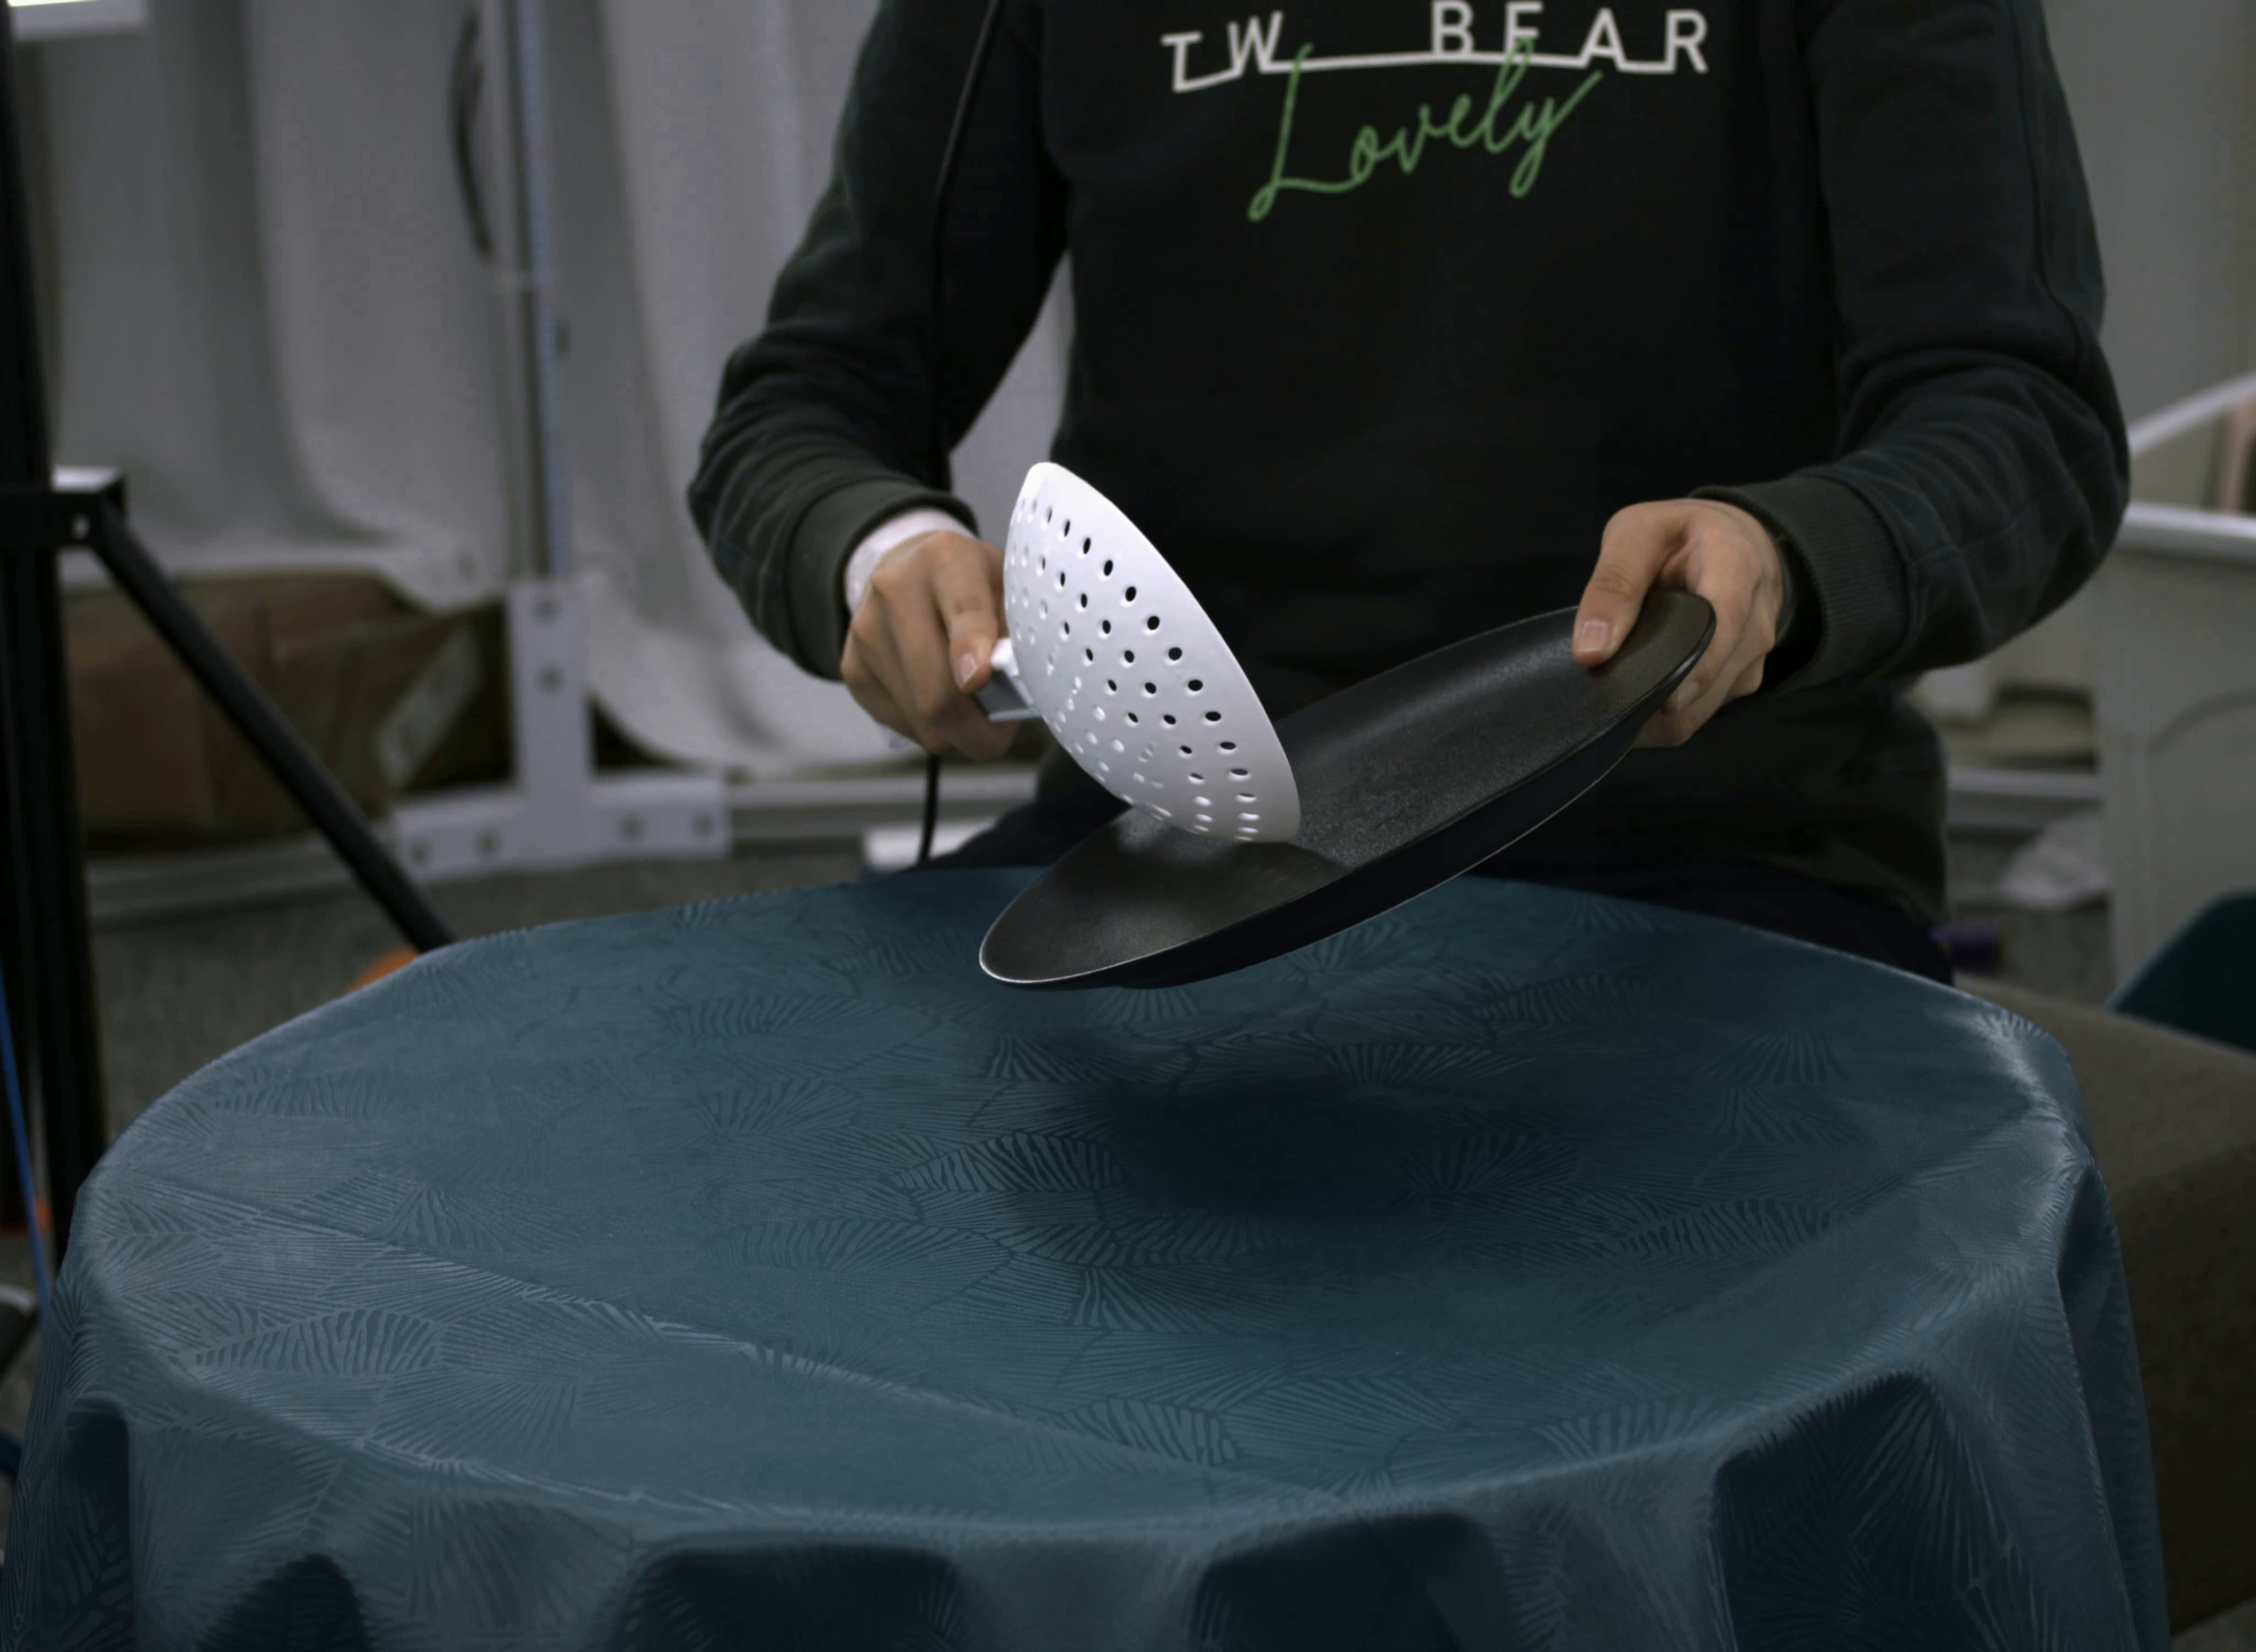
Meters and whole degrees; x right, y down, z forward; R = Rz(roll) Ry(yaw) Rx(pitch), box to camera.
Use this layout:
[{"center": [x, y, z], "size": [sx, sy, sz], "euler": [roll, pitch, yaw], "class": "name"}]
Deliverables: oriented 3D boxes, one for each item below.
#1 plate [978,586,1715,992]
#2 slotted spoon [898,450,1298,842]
[{"center": [0.068, -0.005, 1.586], "size": [0.244, 0.023, 0.245], "euler": [-27, 11, 4], "class": "plate"}, {"center": [-0.024, -0.049, 1.701], "size": [0.045, 0.136, 0.353], "euler": [-31, 7, -9], "class": "slotted spoon"}]
